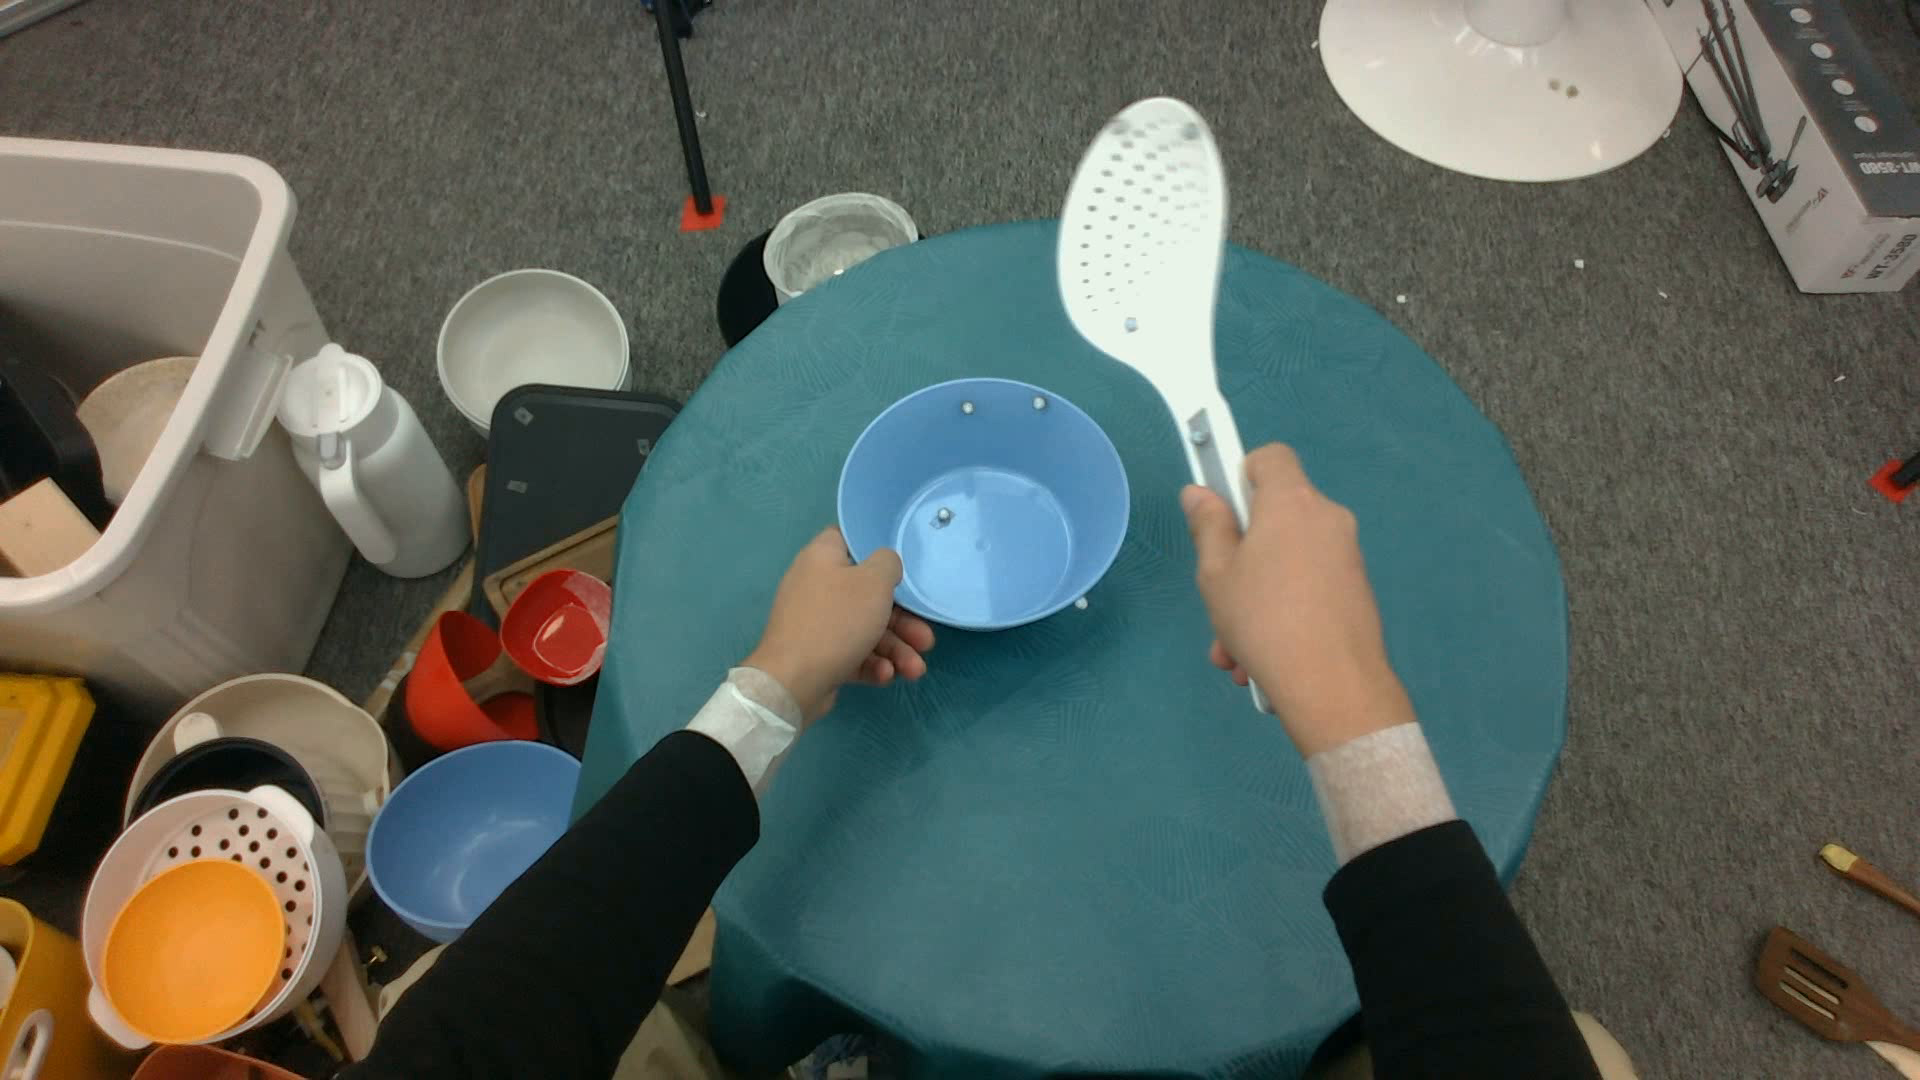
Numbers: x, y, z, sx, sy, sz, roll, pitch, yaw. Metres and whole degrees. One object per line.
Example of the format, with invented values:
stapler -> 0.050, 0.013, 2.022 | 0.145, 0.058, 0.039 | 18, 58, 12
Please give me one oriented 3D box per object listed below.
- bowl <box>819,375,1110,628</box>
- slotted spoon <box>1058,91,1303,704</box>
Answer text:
bowl -> 0.003, -0.013, 0.852 | 0.176, 0.070, 0.177 | 0, 61, 0
slotted spoon -> 0.118, -0.082, 0.708 | 0.046, 0.135, 0.351 | 14, 54, -30
